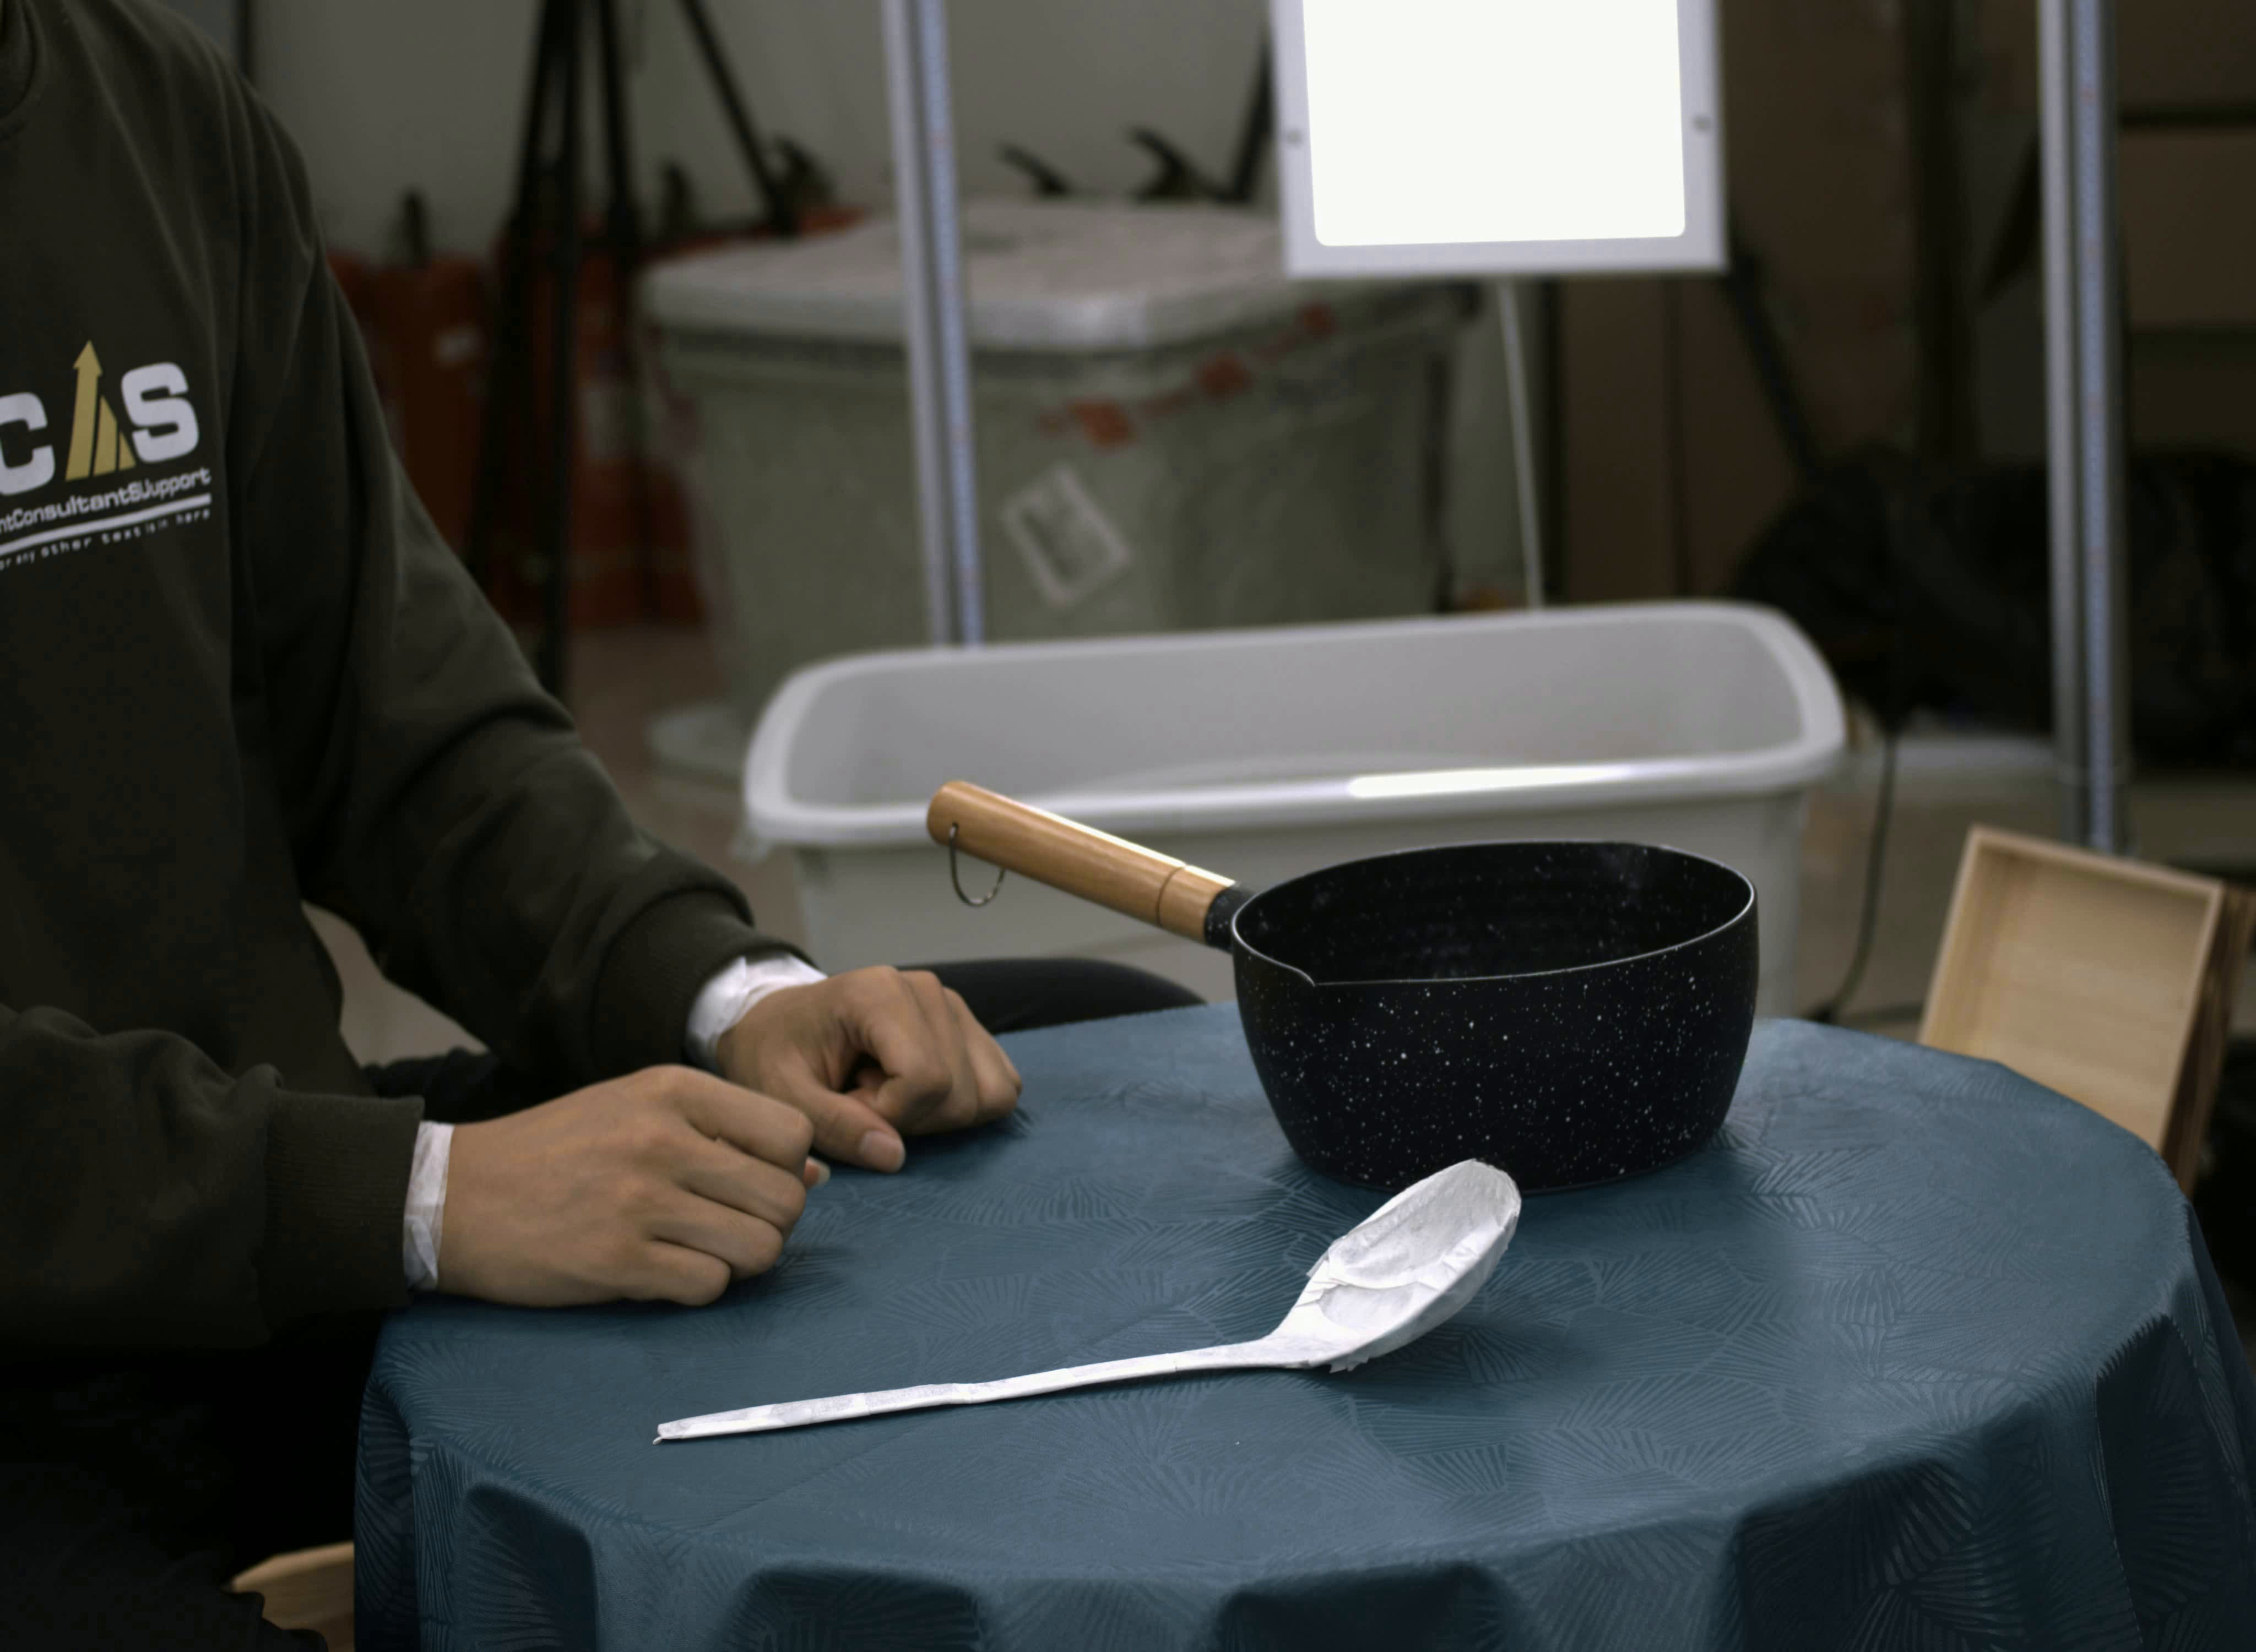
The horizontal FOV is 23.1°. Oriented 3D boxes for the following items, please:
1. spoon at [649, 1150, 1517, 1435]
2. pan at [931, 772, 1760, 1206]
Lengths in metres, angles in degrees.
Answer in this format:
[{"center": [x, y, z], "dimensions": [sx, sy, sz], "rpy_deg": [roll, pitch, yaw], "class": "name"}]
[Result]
[{"center": [-0.014, 0.145, 1.715], "dimensions": [0.276, 0.059, 0.101], "rpy_deg": [-6, 10, -2], "class": "spoon"}, {"center": [0.066, 0.050, 1.965], "dimensions": [0.350, 0.108, 0.202], "rpy_deg": [7, 19, 38], "class": "pan"}]
